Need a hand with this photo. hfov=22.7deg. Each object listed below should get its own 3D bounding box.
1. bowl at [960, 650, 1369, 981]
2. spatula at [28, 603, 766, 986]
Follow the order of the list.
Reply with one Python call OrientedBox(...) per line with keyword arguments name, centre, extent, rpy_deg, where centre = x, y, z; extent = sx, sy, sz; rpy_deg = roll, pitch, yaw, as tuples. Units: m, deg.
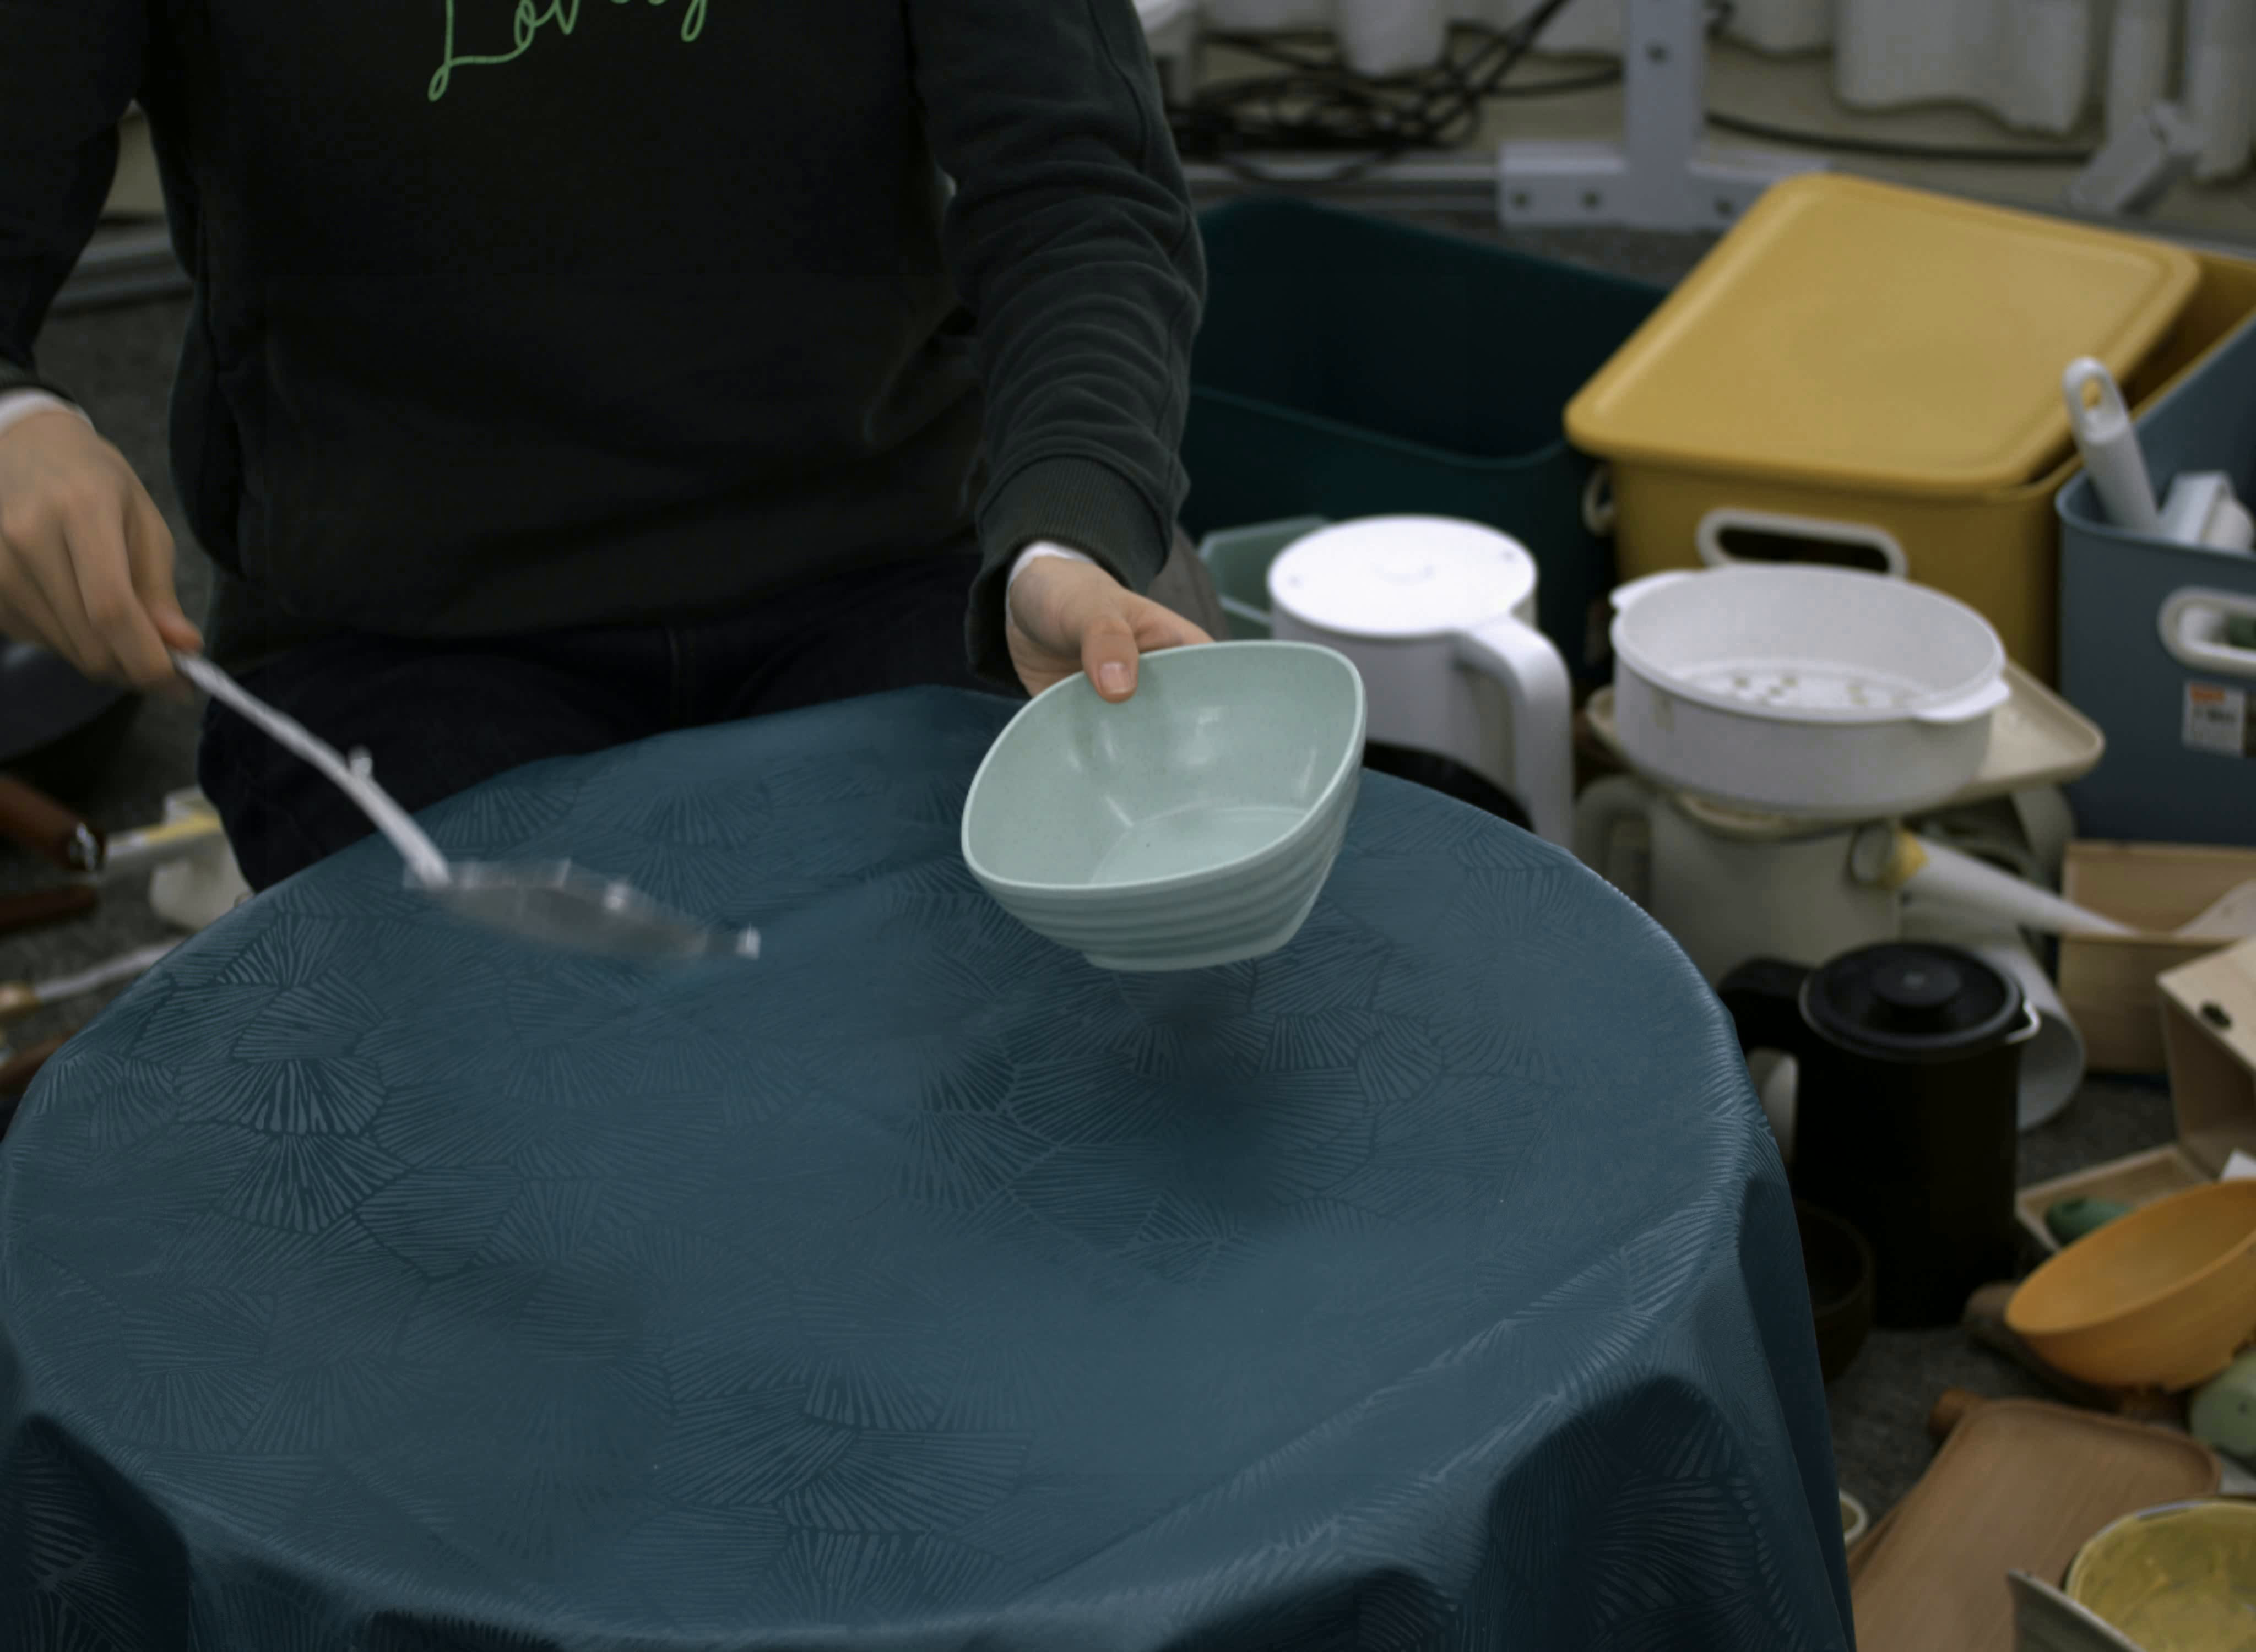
OrientedBox(name="bowl", centre=(0.019, 0.004, 1.908), extent=(0.150, 0.058, 0.154), rpy_deg=(-11, 34, 8))
OrientedBox(name="spatula", centre=(-0.257, -0.017, 1.821), extent=(0.366, 0.044, 0.098), rpy_deg=(33, 10, 40))
